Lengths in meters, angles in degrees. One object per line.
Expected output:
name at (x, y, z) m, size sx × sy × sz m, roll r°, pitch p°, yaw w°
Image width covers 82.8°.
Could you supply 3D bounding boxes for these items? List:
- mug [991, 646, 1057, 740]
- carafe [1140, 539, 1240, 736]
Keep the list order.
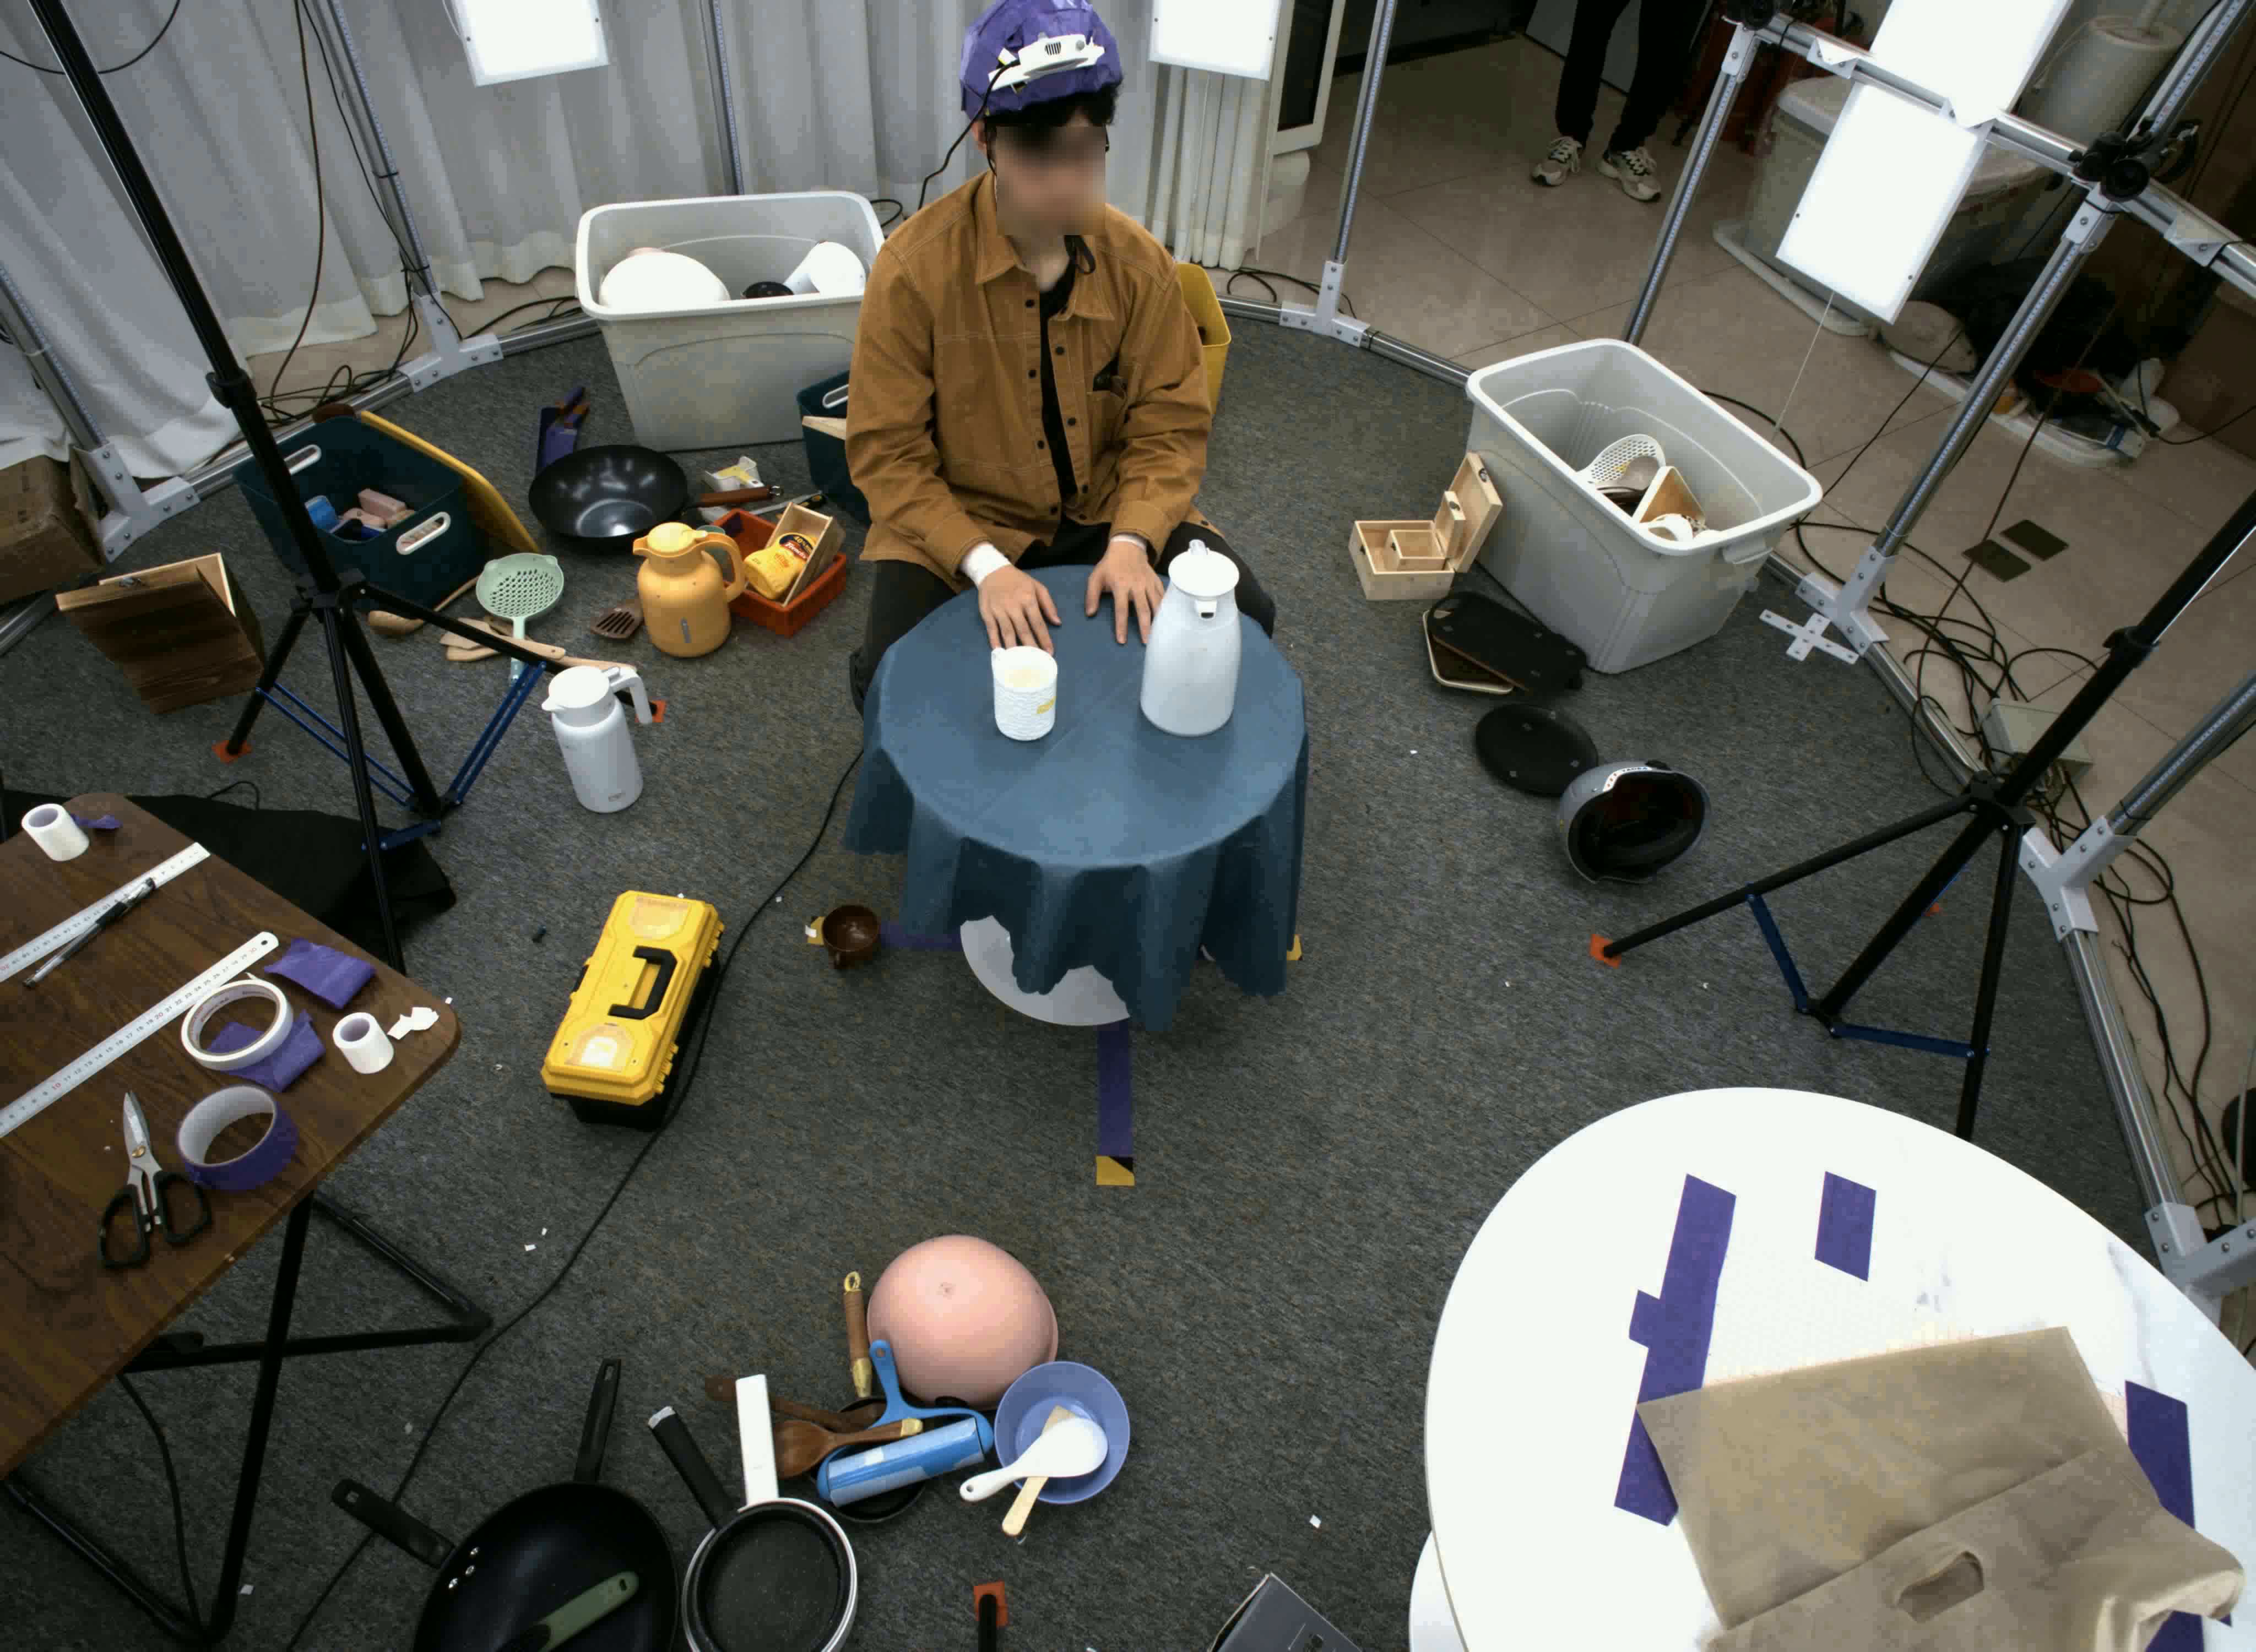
mug at (-0.150, -0.189, 1.758) m, size 0.085 × 0.099 × 0.120 m, roll -28°, pitch 57°, yaw -25°
carafe at (0.086, -0.267, 1.746) m, size 0.132 × 0.242 × 0.172 m, roll -3°, pitch 49°, yaw -5°
